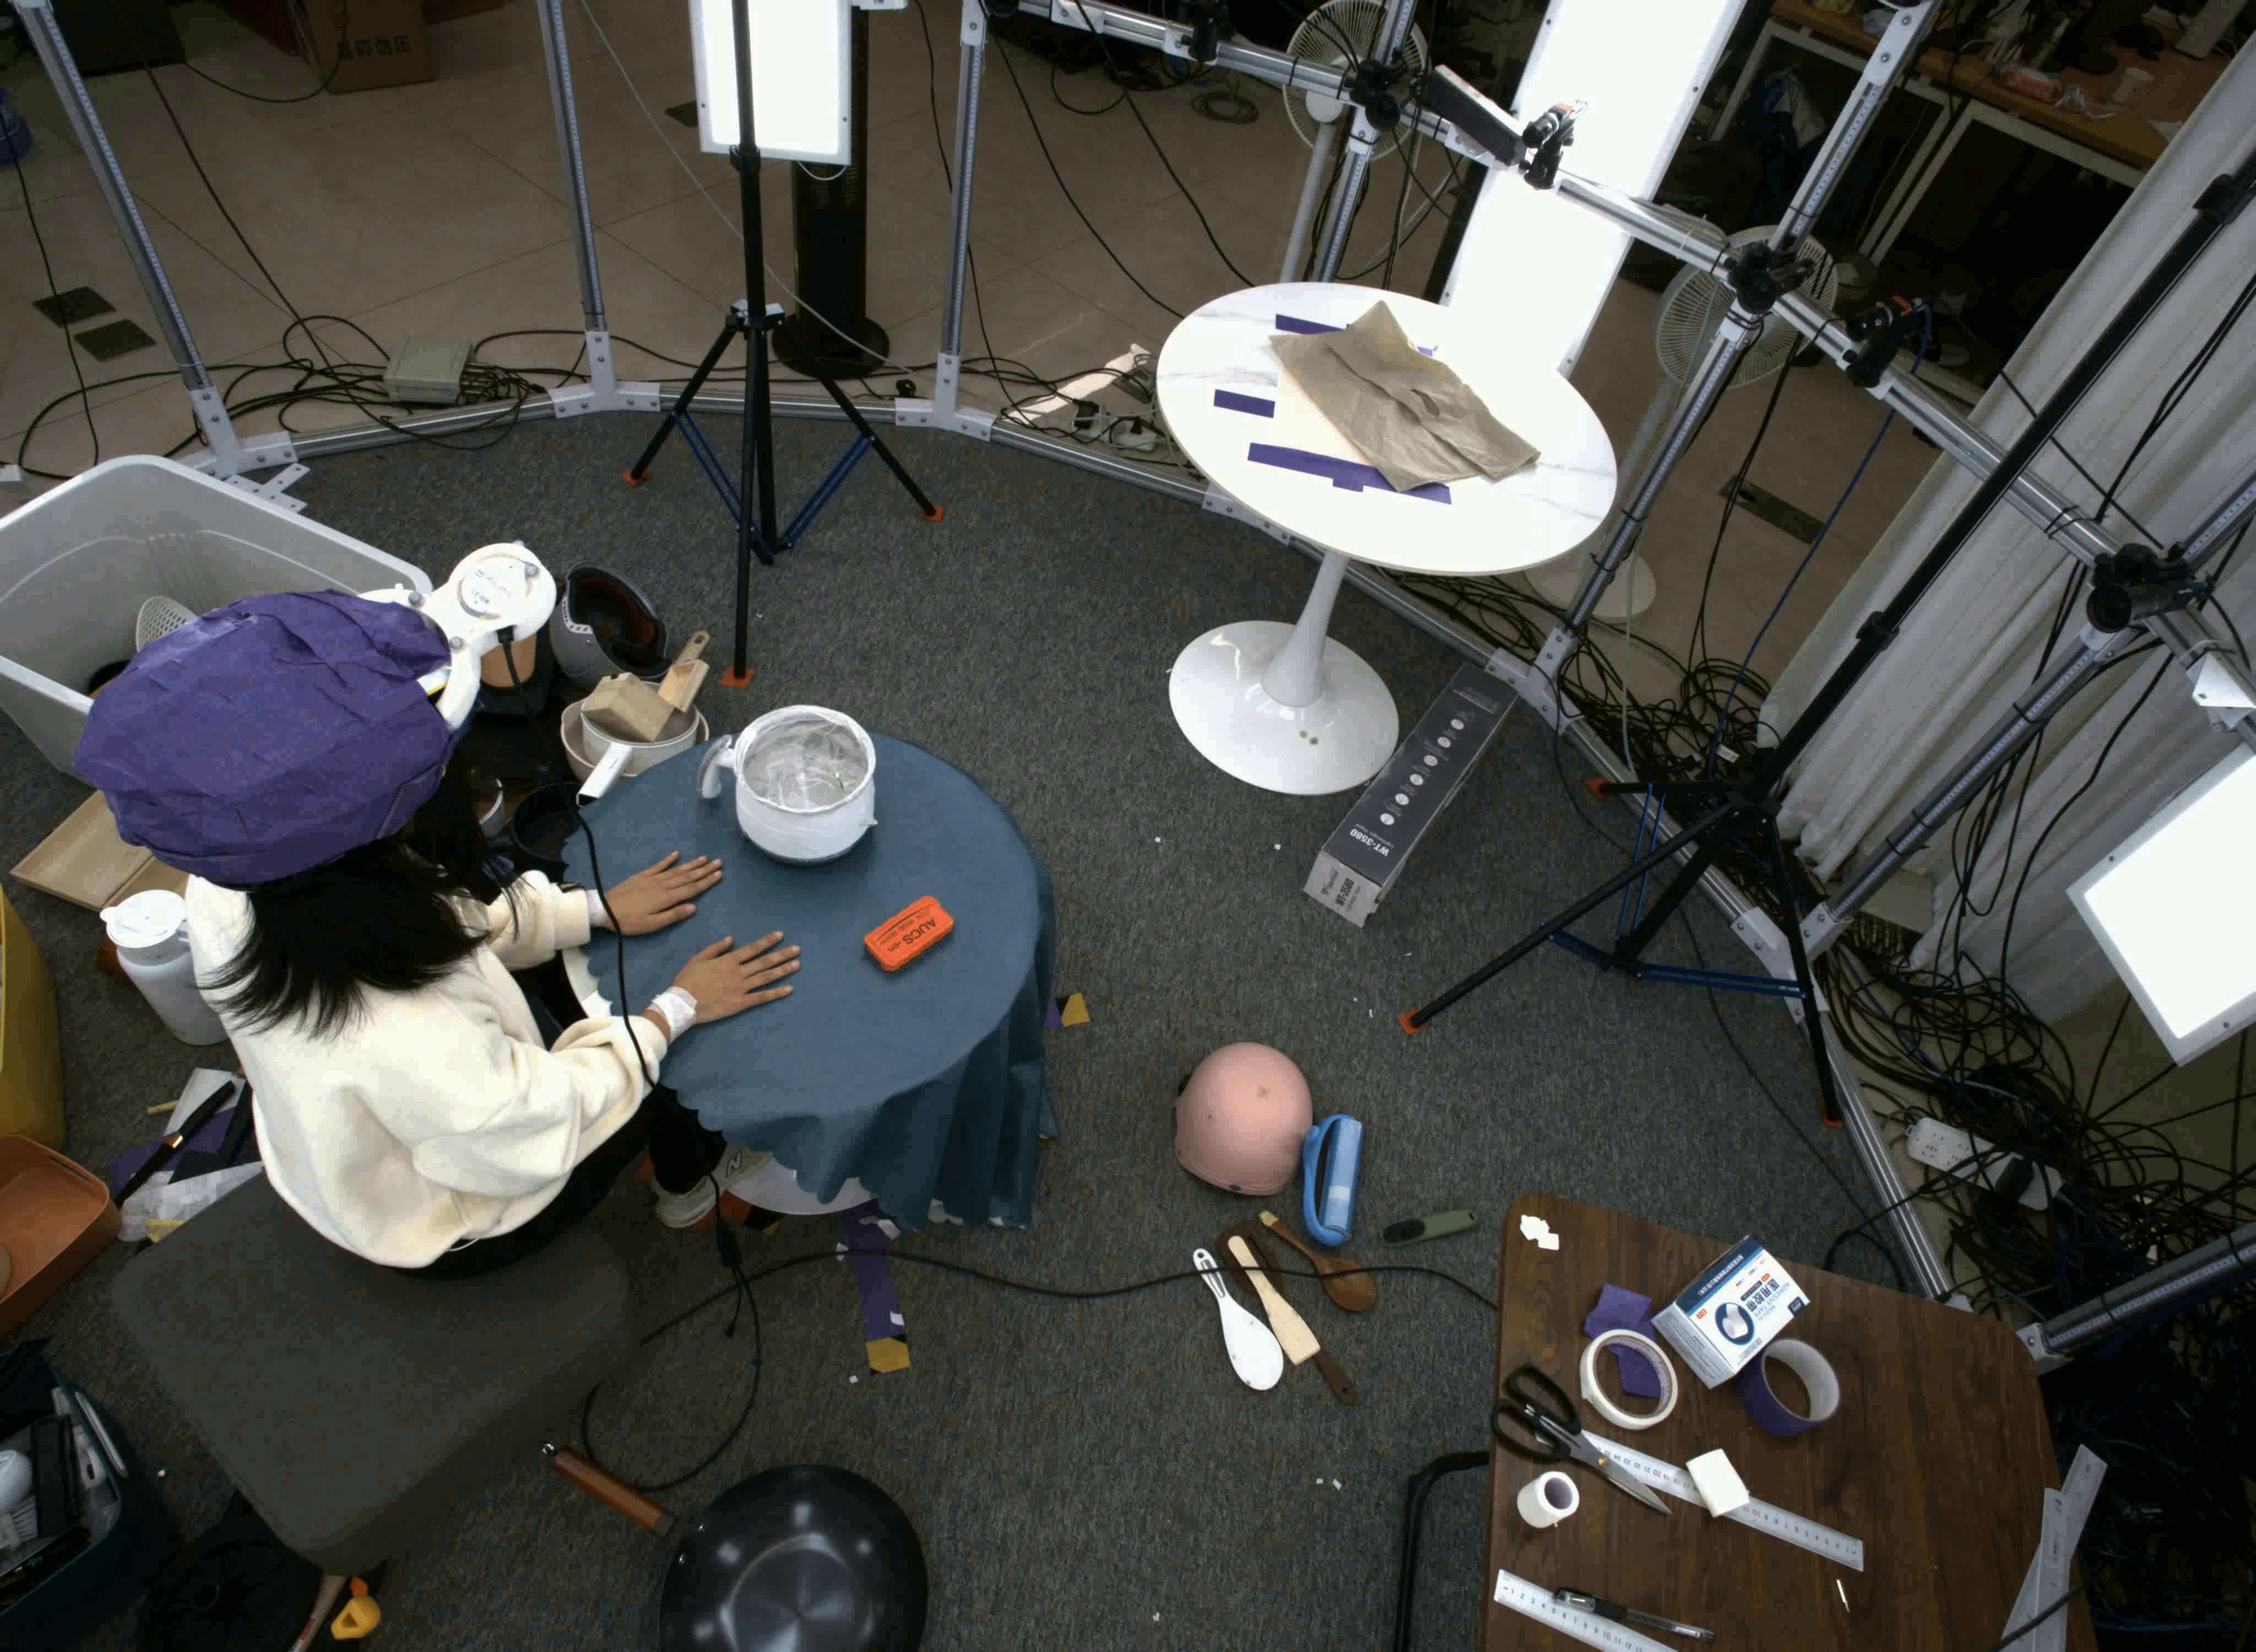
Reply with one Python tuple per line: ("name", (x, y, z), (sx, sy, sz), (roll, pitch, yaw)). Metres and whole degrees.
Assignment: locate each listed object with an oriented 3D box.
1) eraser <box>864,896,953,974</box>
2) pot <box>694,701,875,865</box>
("eraser", (-0.277, 0.135, 1.641), (0.057, 0.023, 0.108), (41, 54, 20))
("pot", (-0.444, -0.057, 1.664), (0.233, 0.139, 0.176), (12, 50, -7))
